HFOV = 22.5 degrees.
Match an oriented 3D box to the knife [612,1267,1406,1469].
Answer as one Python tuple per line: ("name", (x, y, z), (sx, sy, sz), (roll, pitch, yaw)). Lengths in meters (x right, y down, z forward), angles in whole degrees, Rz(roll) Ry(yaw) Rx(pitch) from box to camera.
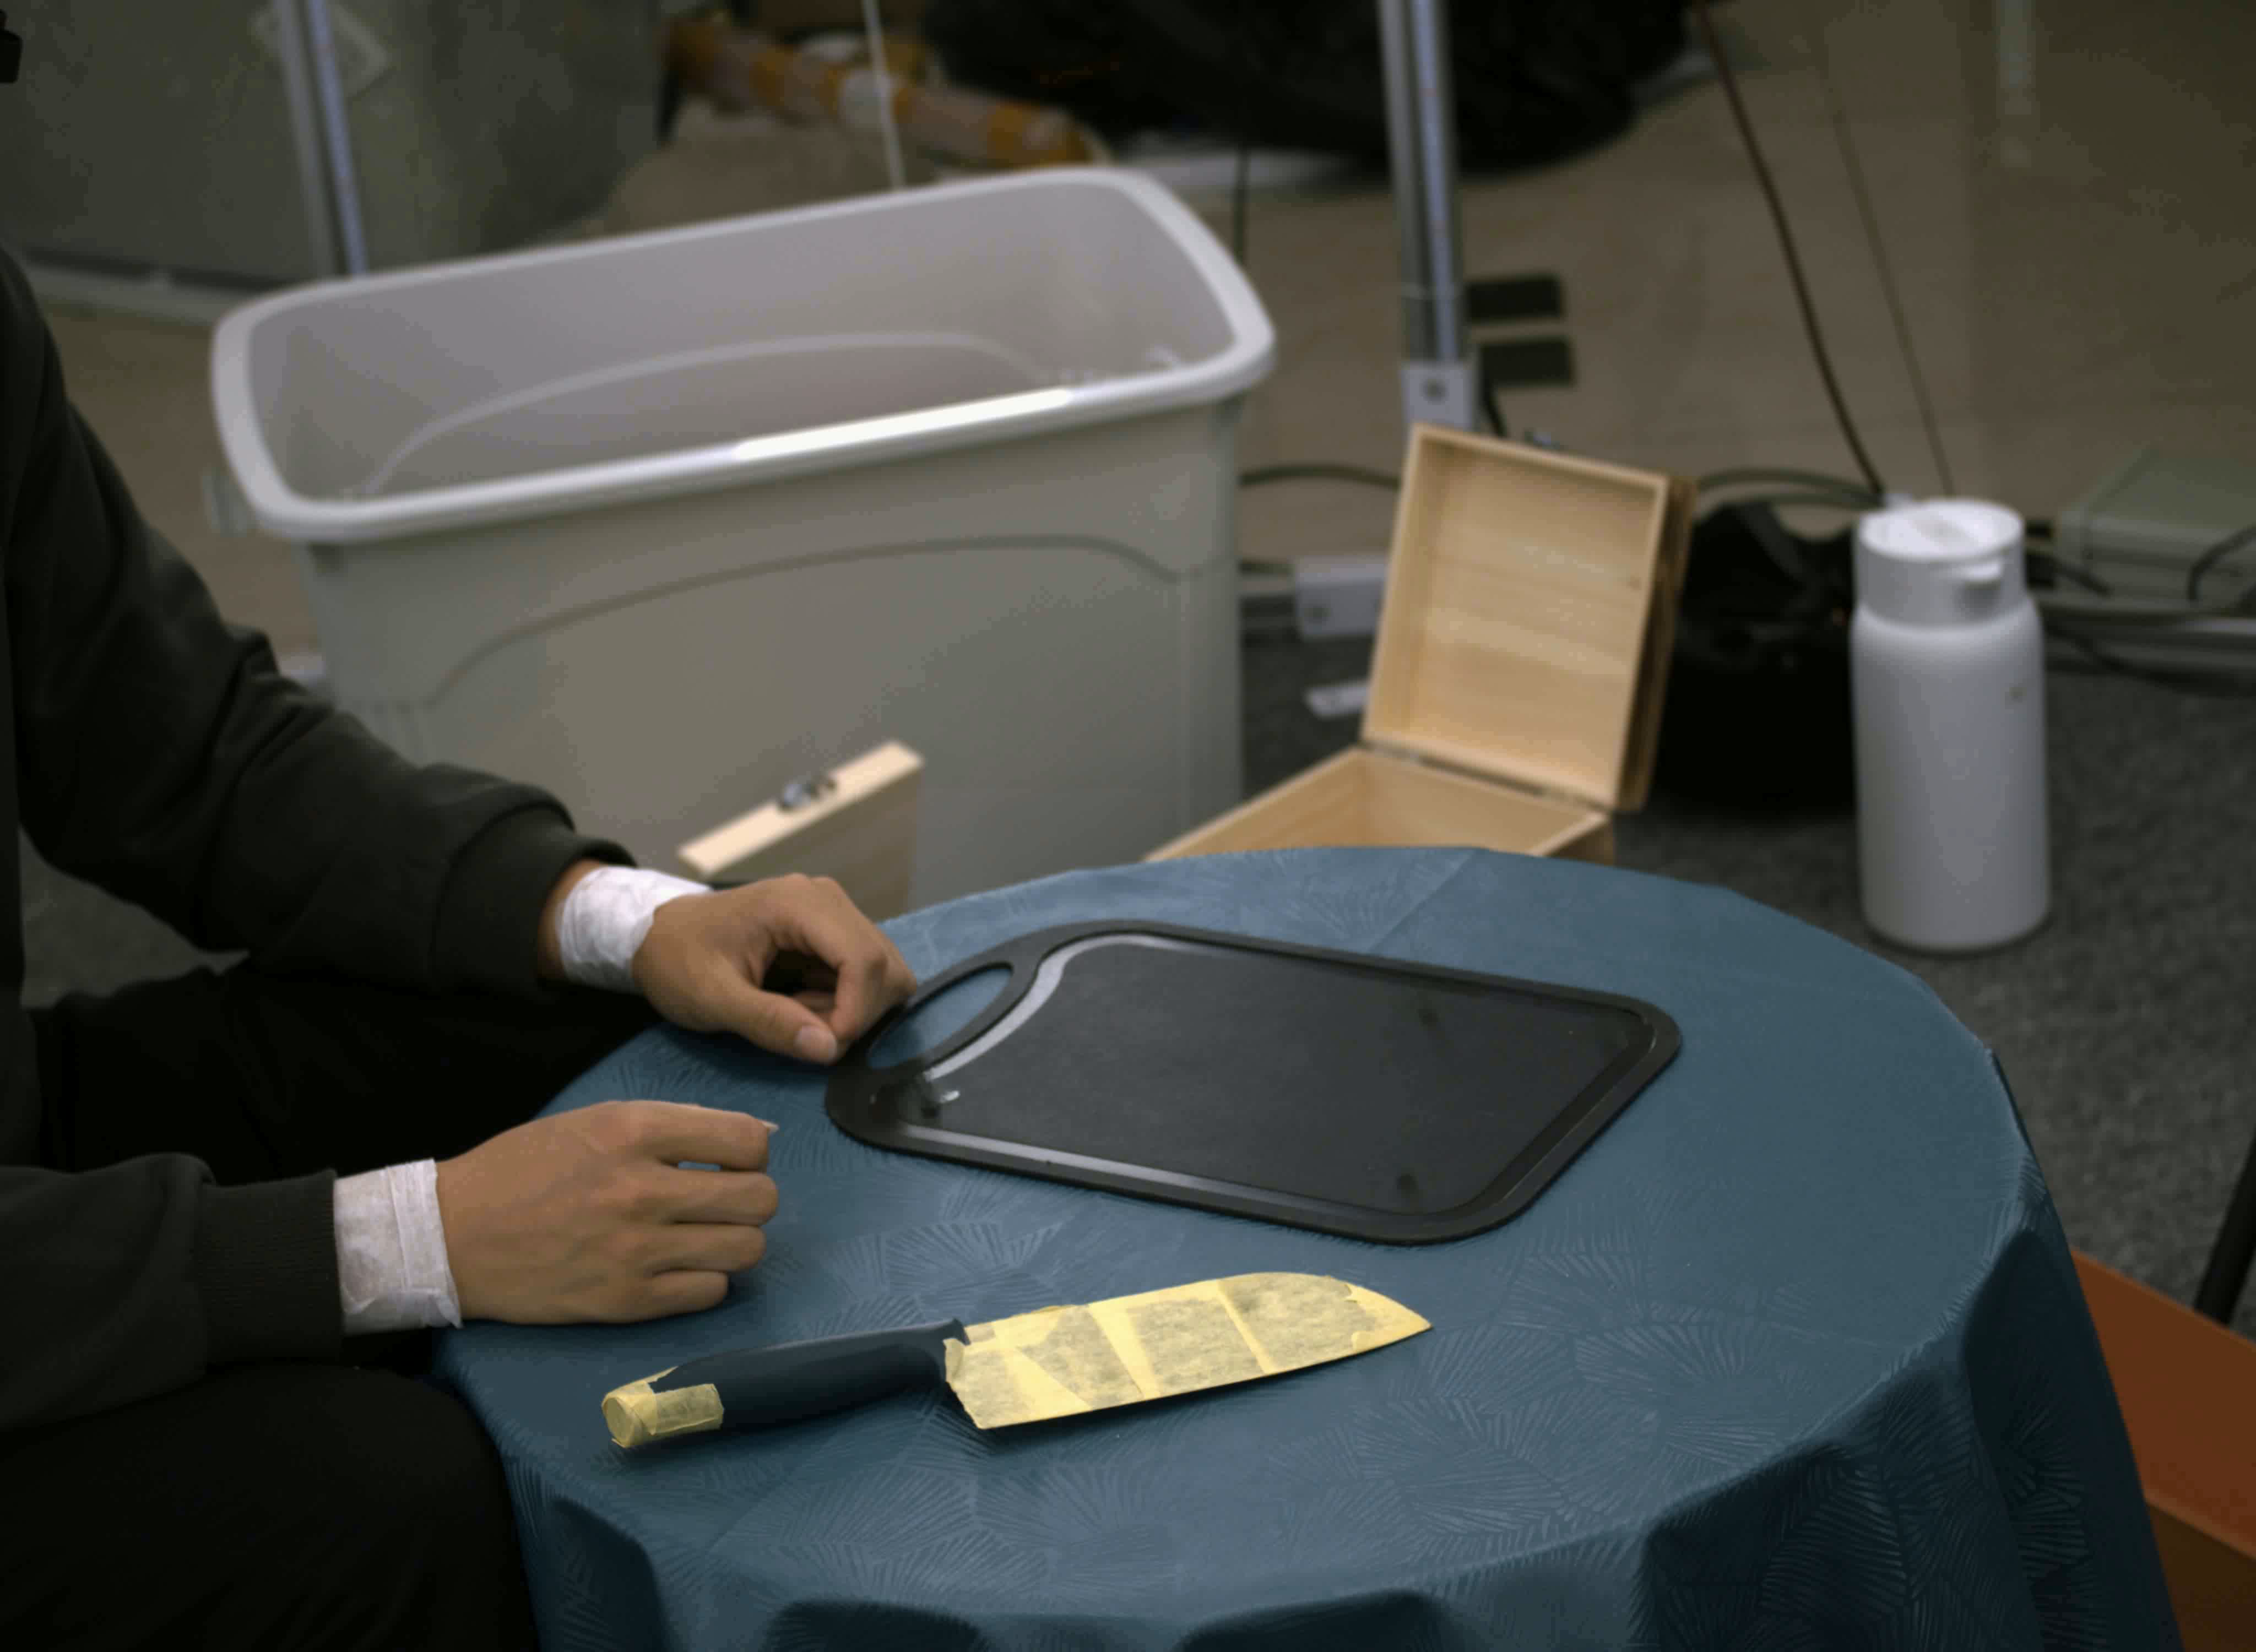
("knife", (-0.040, 0.195, 2.024), (0.289, 0.027, 0.080), (-10, 23, -10))

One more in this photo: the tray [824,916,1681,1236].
("tray", (0.041, 0.093, 2.231), (0.324, 0.010, 0.208), (9, 29, 30))
